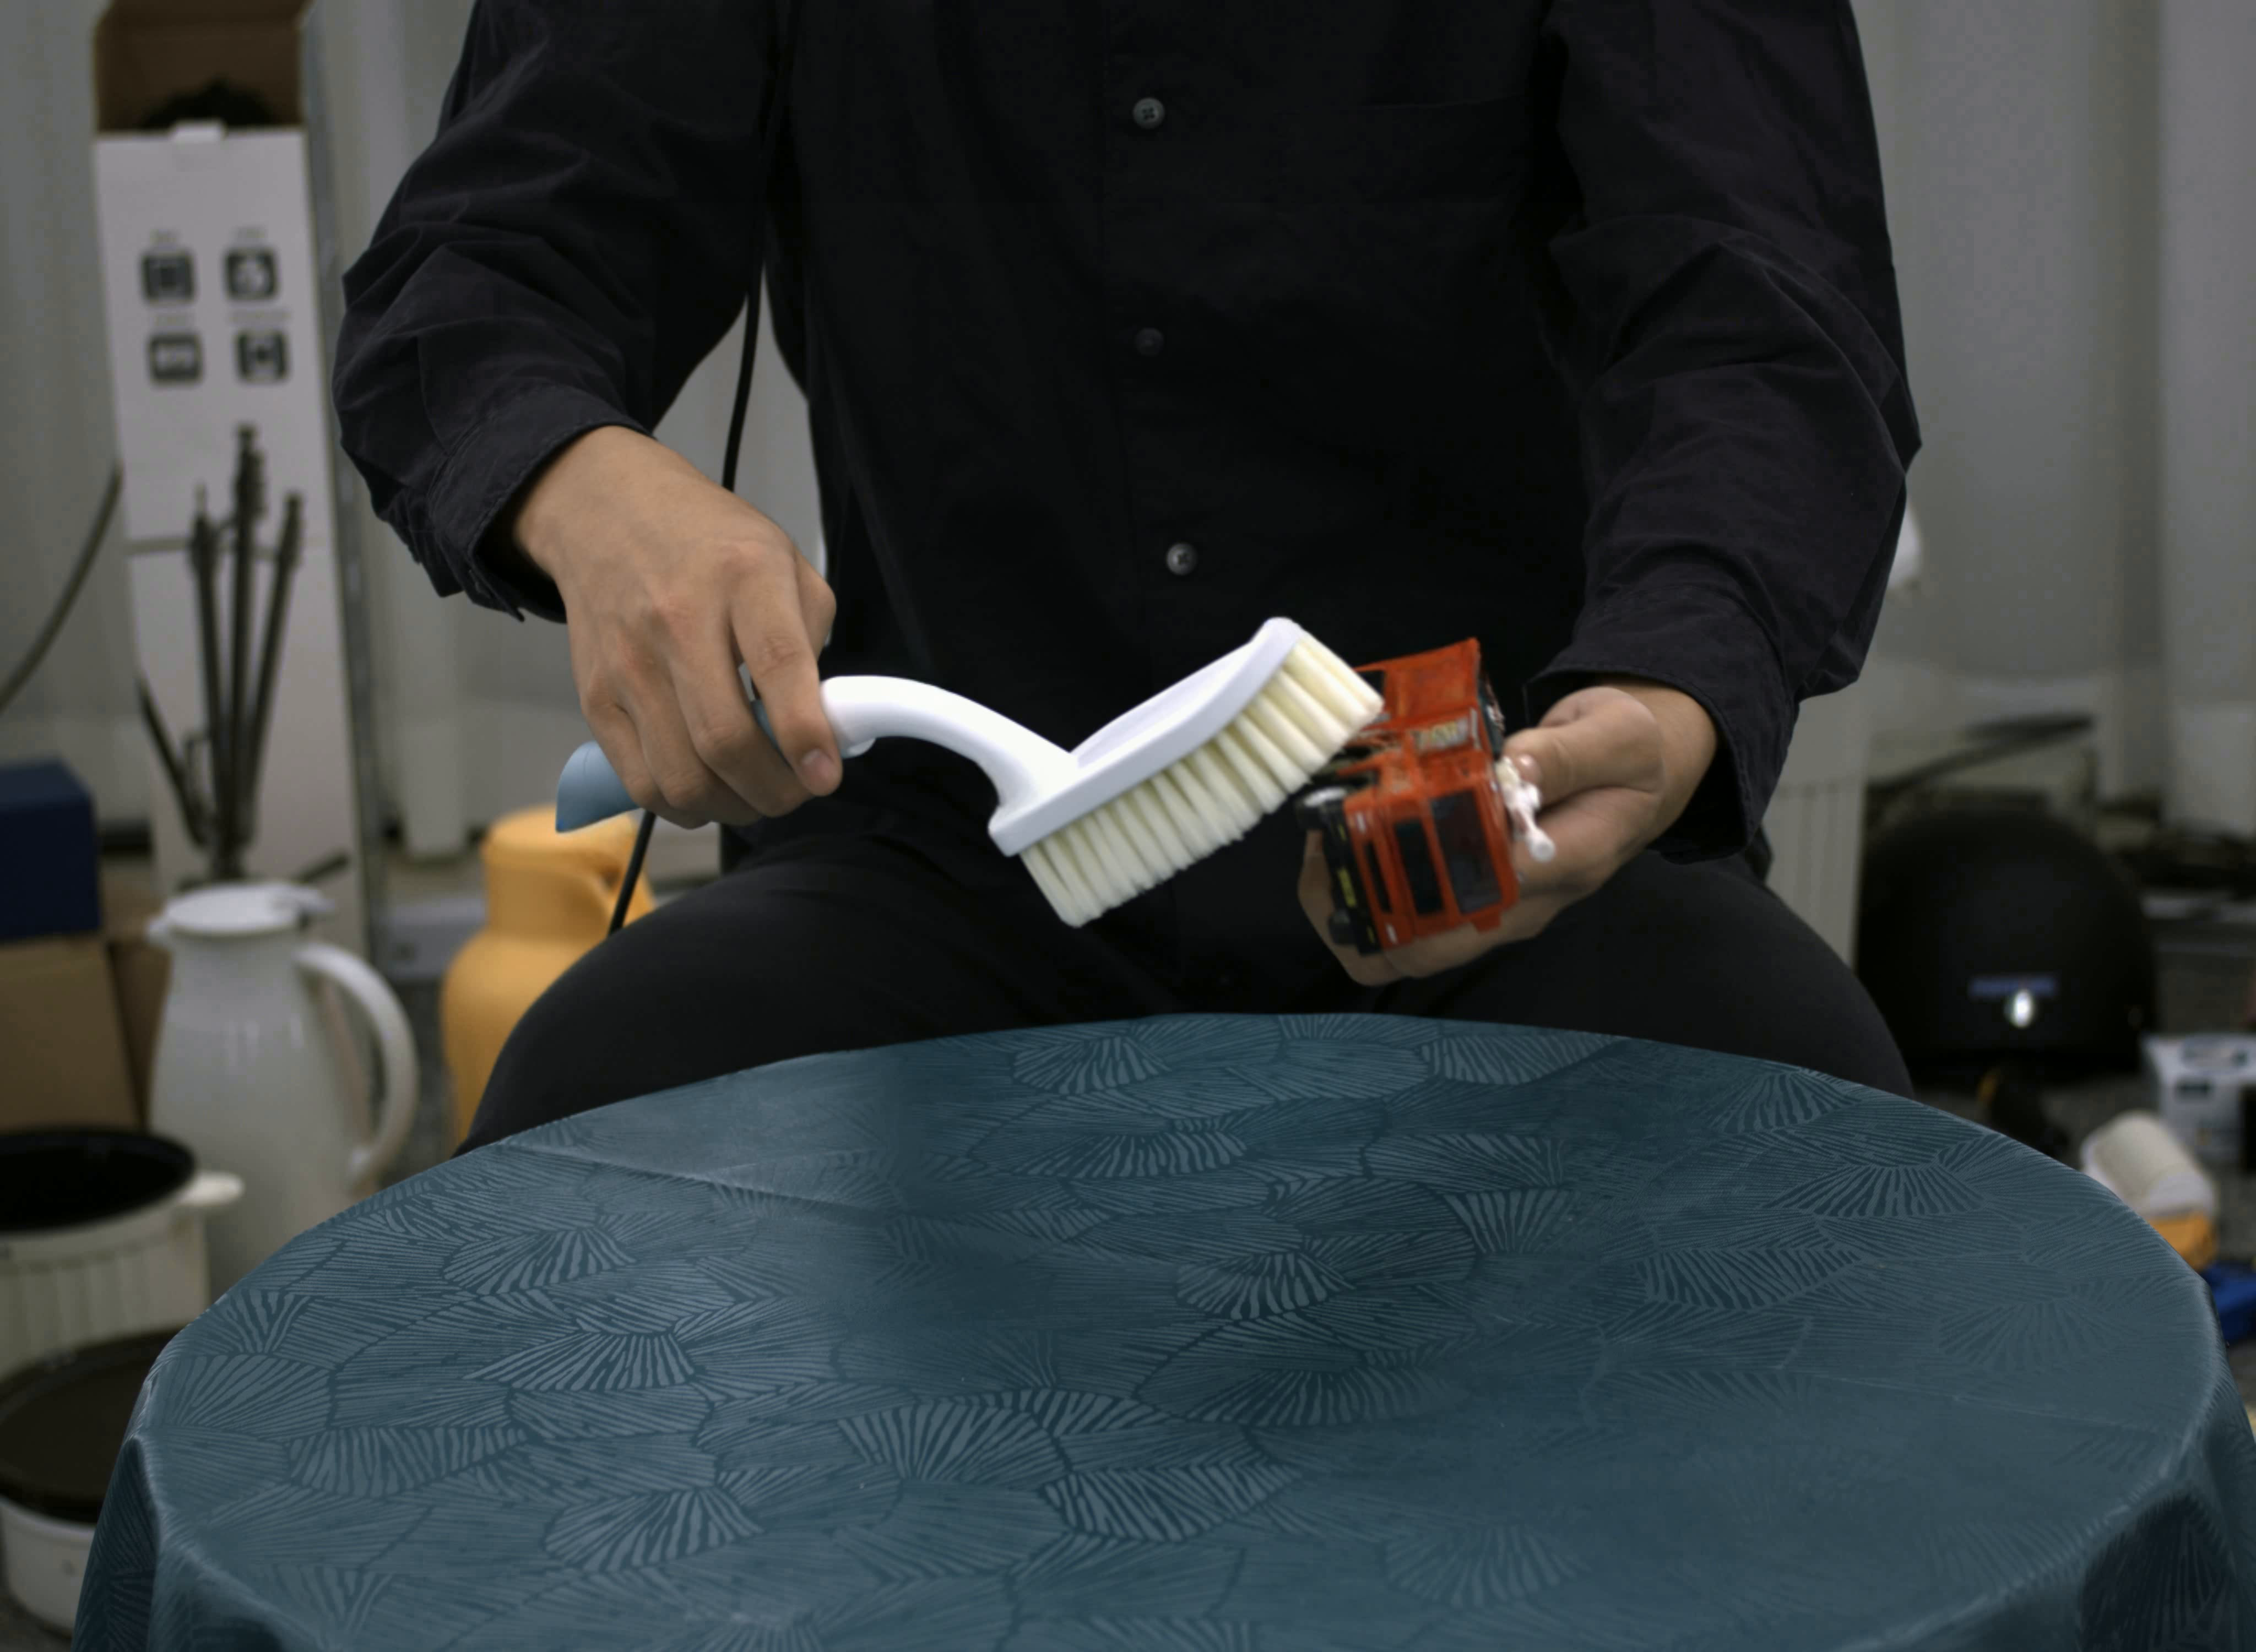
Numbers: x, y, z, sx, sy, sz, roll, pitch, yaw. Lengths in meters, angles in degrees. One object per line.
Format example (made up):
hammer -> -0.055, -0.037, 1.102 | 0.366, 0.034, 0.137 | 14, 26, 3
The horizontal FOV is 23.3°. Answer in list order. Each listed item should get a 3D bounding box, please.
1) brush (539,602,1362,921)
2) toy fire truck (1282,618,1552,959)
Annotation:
brush -> -0.051, -0.005, 1.635 | 0.325, 0.085, 0.082 | -12, -15, 43
toy fire truck -> 0.084, -0.012, 1.545 | 0.070, 0.054, 0.169 | -15, 15, 7
